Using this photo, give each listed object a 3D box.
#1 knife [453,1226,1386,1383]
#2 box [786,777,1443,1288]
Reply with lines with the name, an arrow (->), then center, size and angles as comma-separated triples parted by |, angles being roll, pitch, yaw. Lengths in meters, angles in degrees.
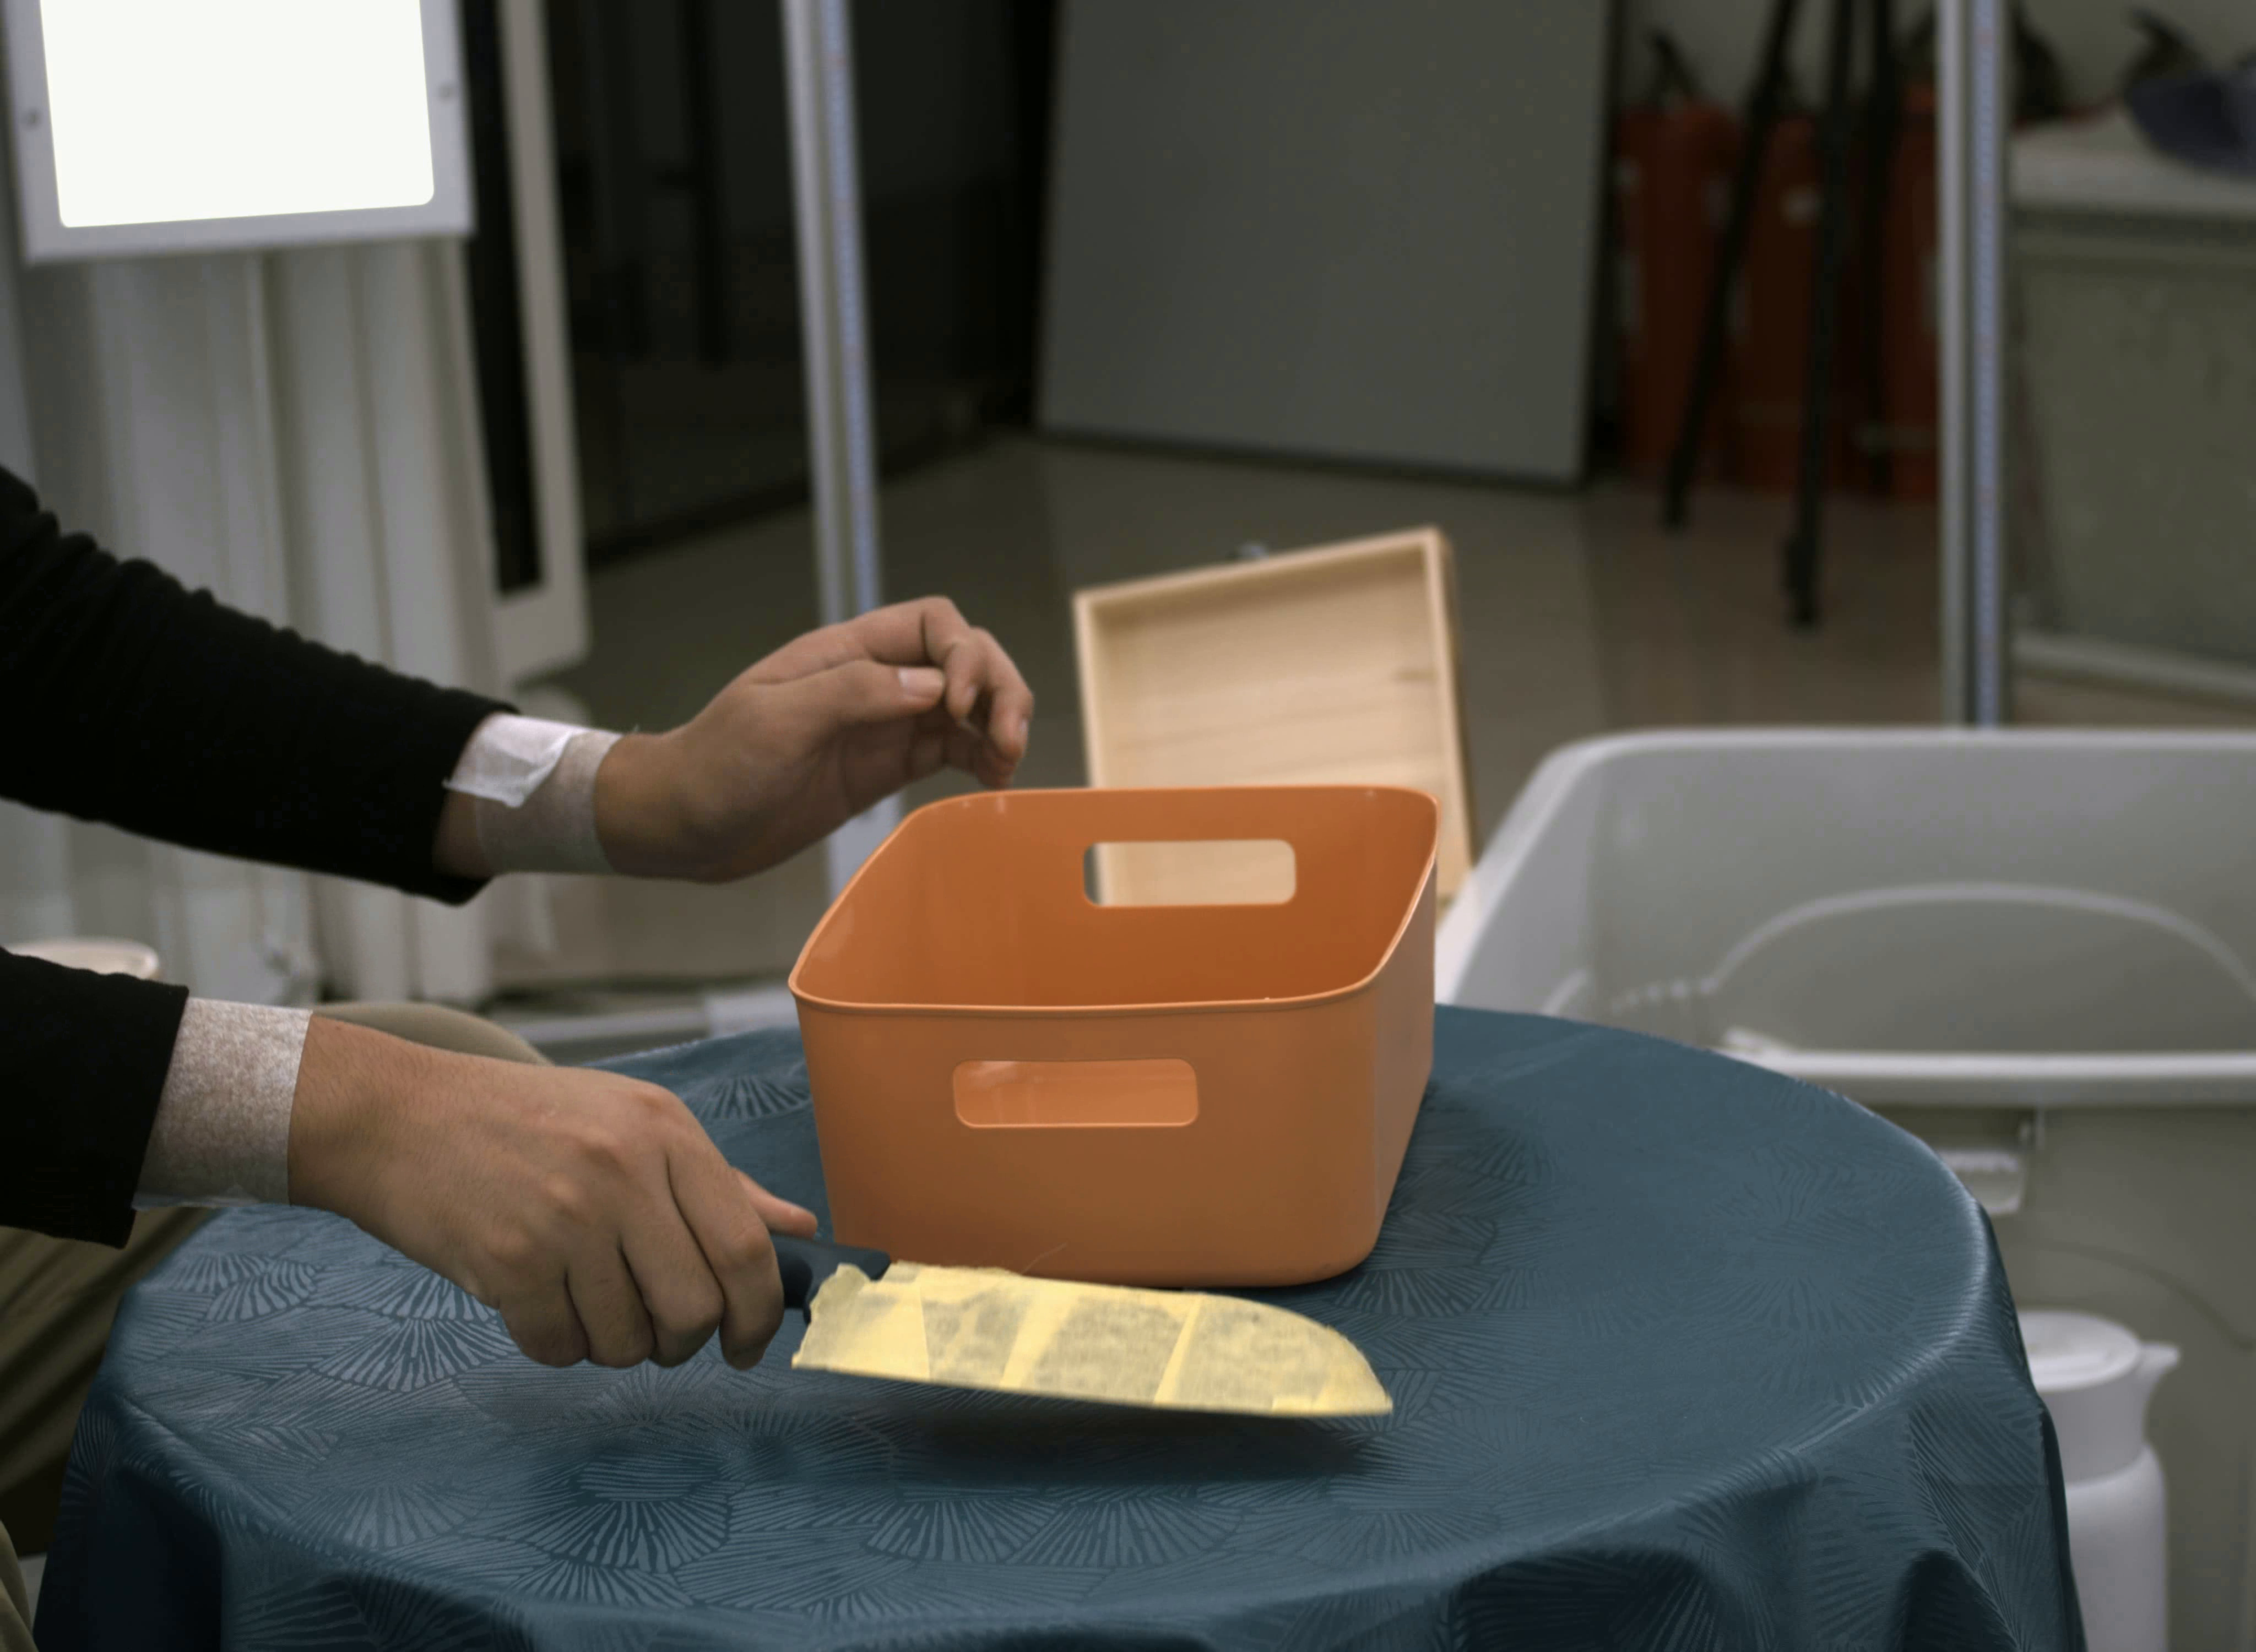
knife -> -0.064, 0.141, 1.560 | 0.288, 0.027, 0.080 | 3, 16, 15
box -> 0.002, 0.066, 1.773 | 0.198, 0.104, 0.272 | -1, 14, 10
